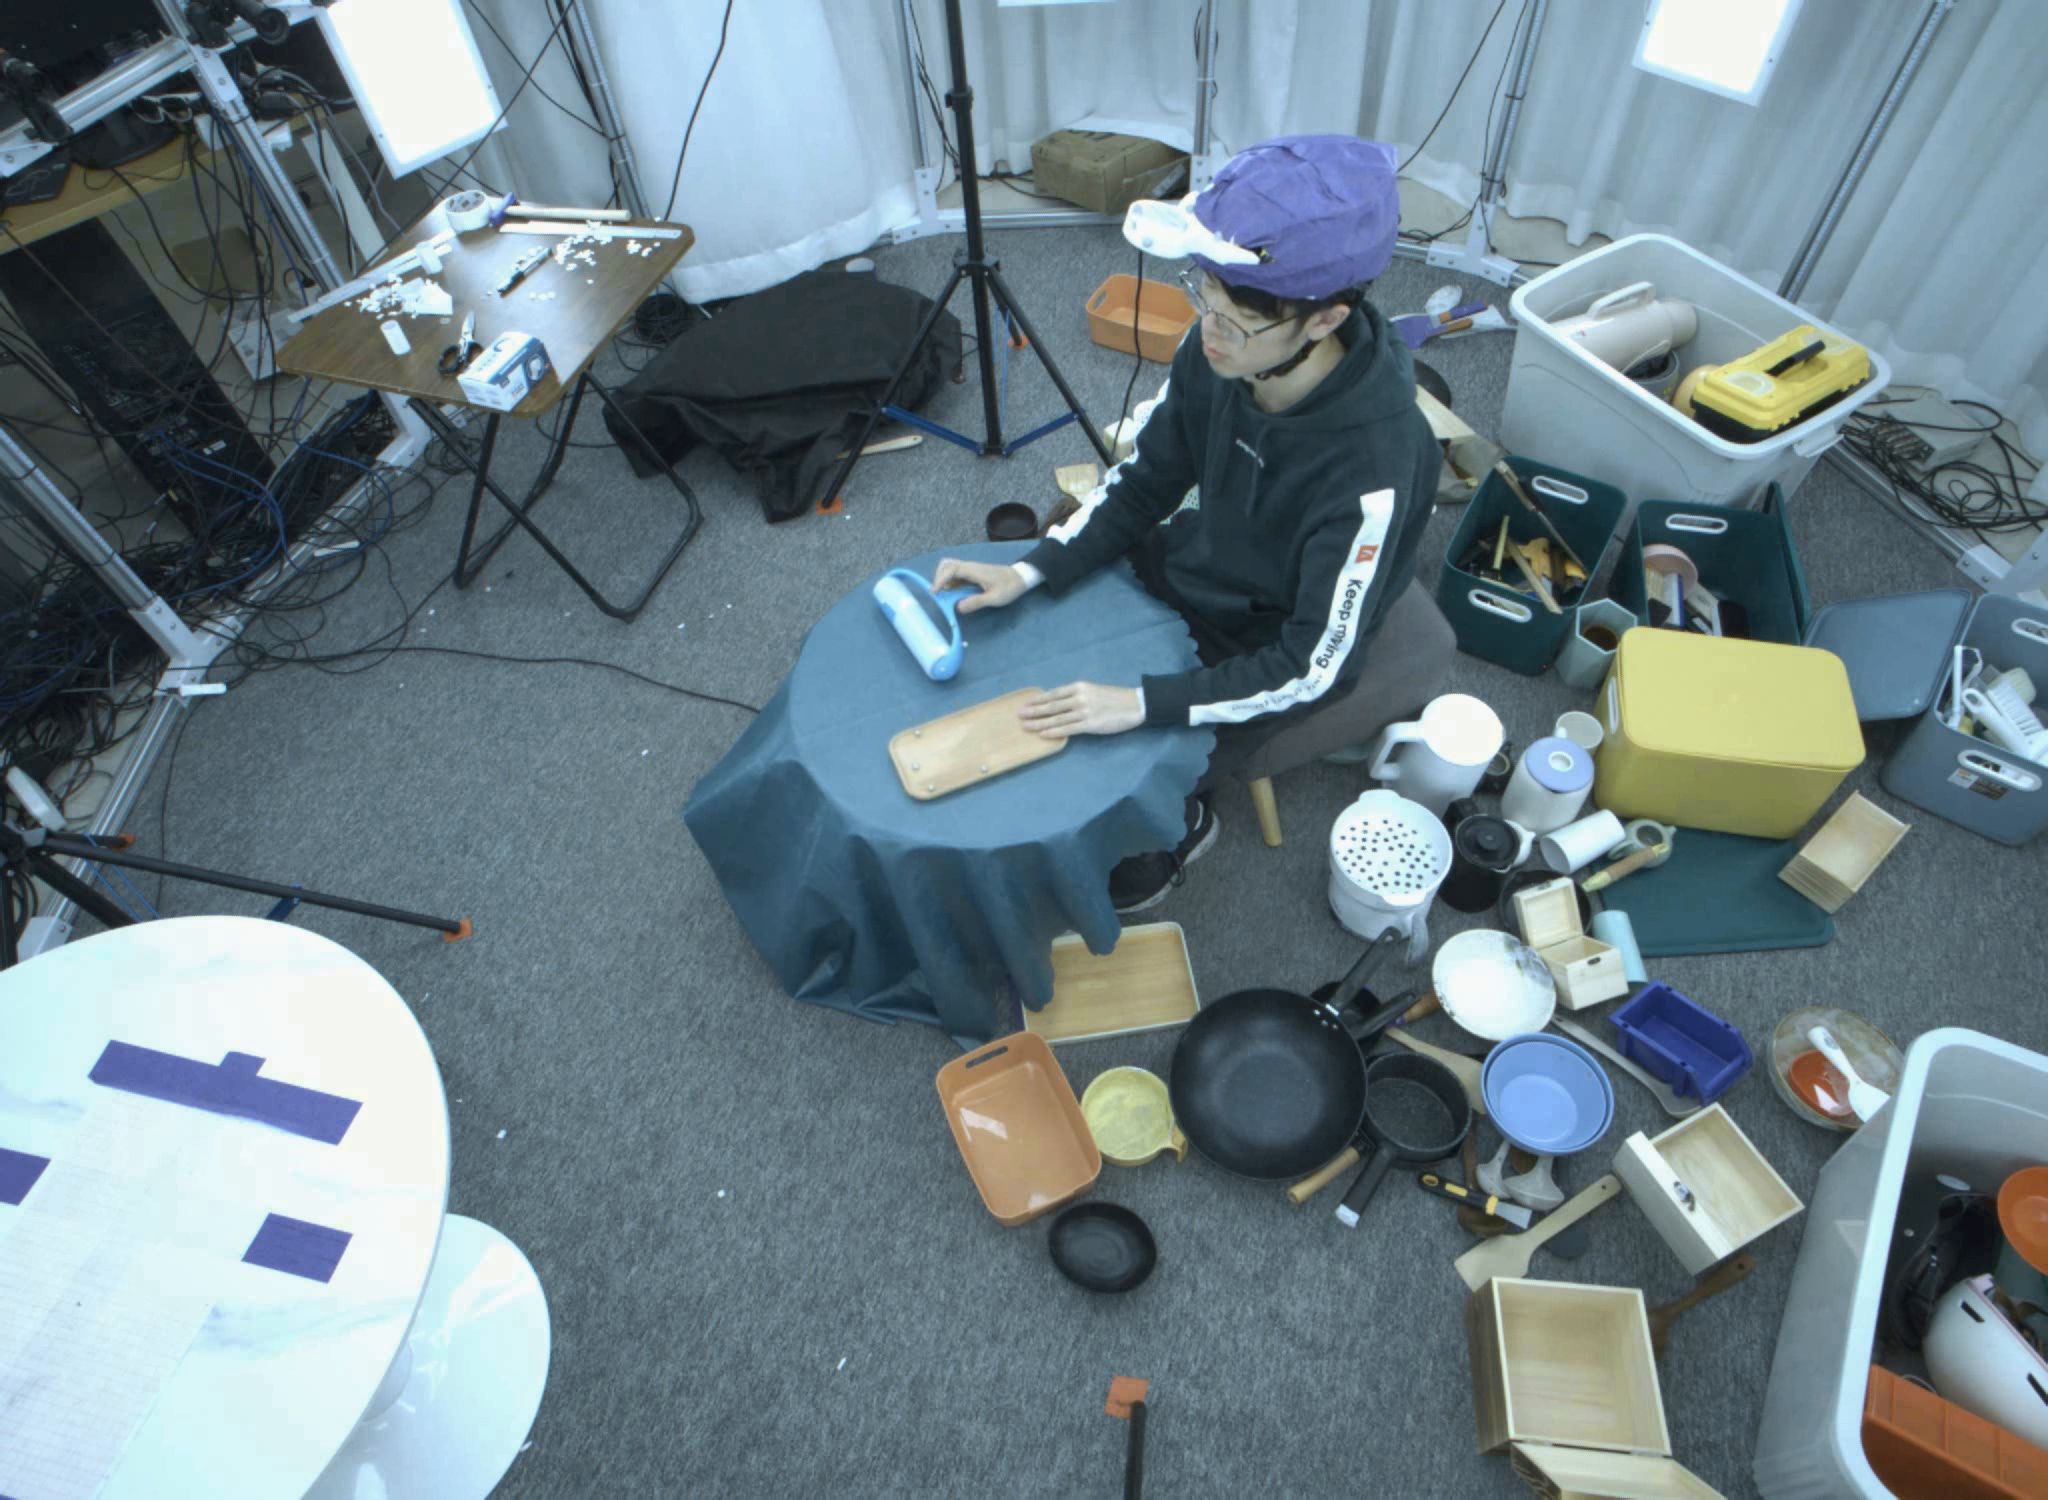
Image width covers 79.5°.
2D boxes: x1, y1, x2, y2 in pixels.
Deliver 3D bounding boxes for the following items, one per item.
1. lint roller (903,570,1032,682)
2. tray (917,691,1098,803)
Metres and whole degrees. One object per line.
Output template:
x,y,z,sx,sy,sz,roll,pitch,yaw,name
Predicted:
-0.072,-0.215,1.903,0.181,0.069,0.224,-28,57,-15,lint roller
-0.024,-0.005,1.777,0.252,0.023,0.128,-17,58,-11,tray
